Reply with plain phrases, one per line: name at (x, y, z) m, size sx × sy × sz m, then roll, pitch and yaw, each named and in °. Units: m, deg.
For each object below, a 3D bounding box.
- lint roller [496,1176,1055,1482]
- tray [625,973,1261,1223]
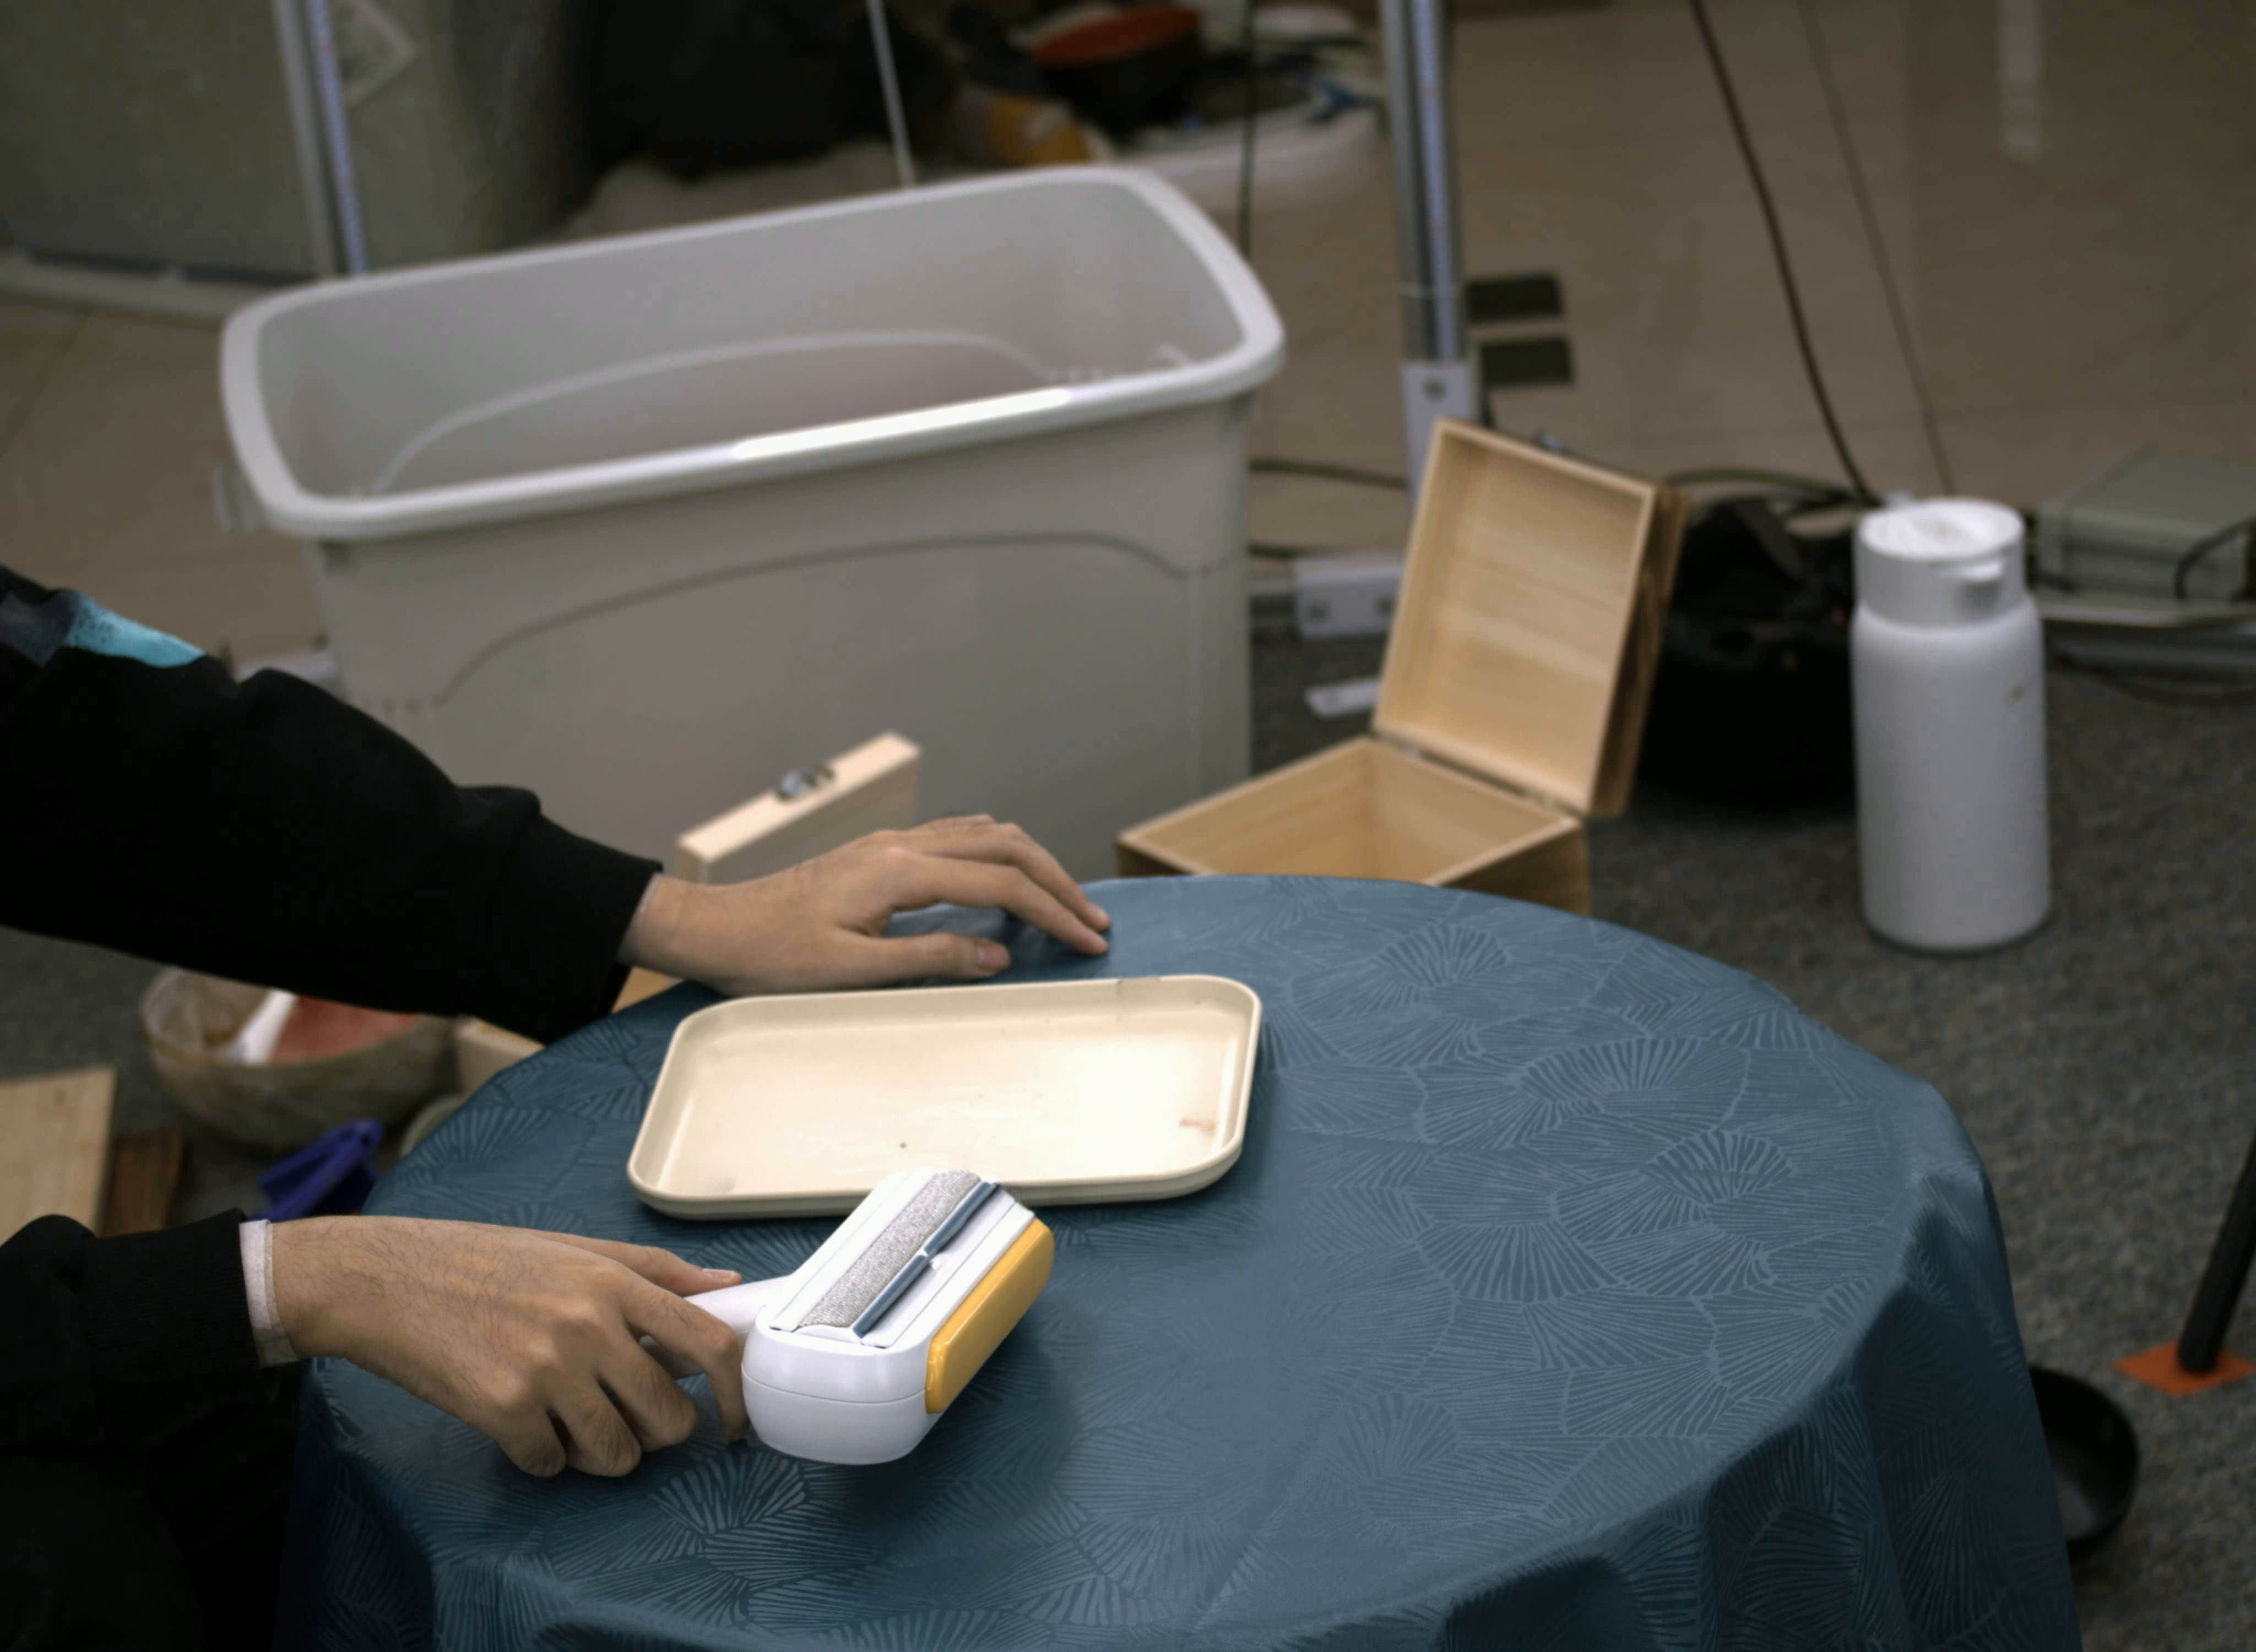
lint roller at (-0.137, 0.179, 2.011) m, size 0.192 × 0.075 × 0.190 m, roll 1°, pitch 20°, yaw 19°
tray at (-0.069, 0.107, 2.209) m, size 0.239 × 0.018 × 0.169 m, roll -3°, pitch 26°, yaw 8°
